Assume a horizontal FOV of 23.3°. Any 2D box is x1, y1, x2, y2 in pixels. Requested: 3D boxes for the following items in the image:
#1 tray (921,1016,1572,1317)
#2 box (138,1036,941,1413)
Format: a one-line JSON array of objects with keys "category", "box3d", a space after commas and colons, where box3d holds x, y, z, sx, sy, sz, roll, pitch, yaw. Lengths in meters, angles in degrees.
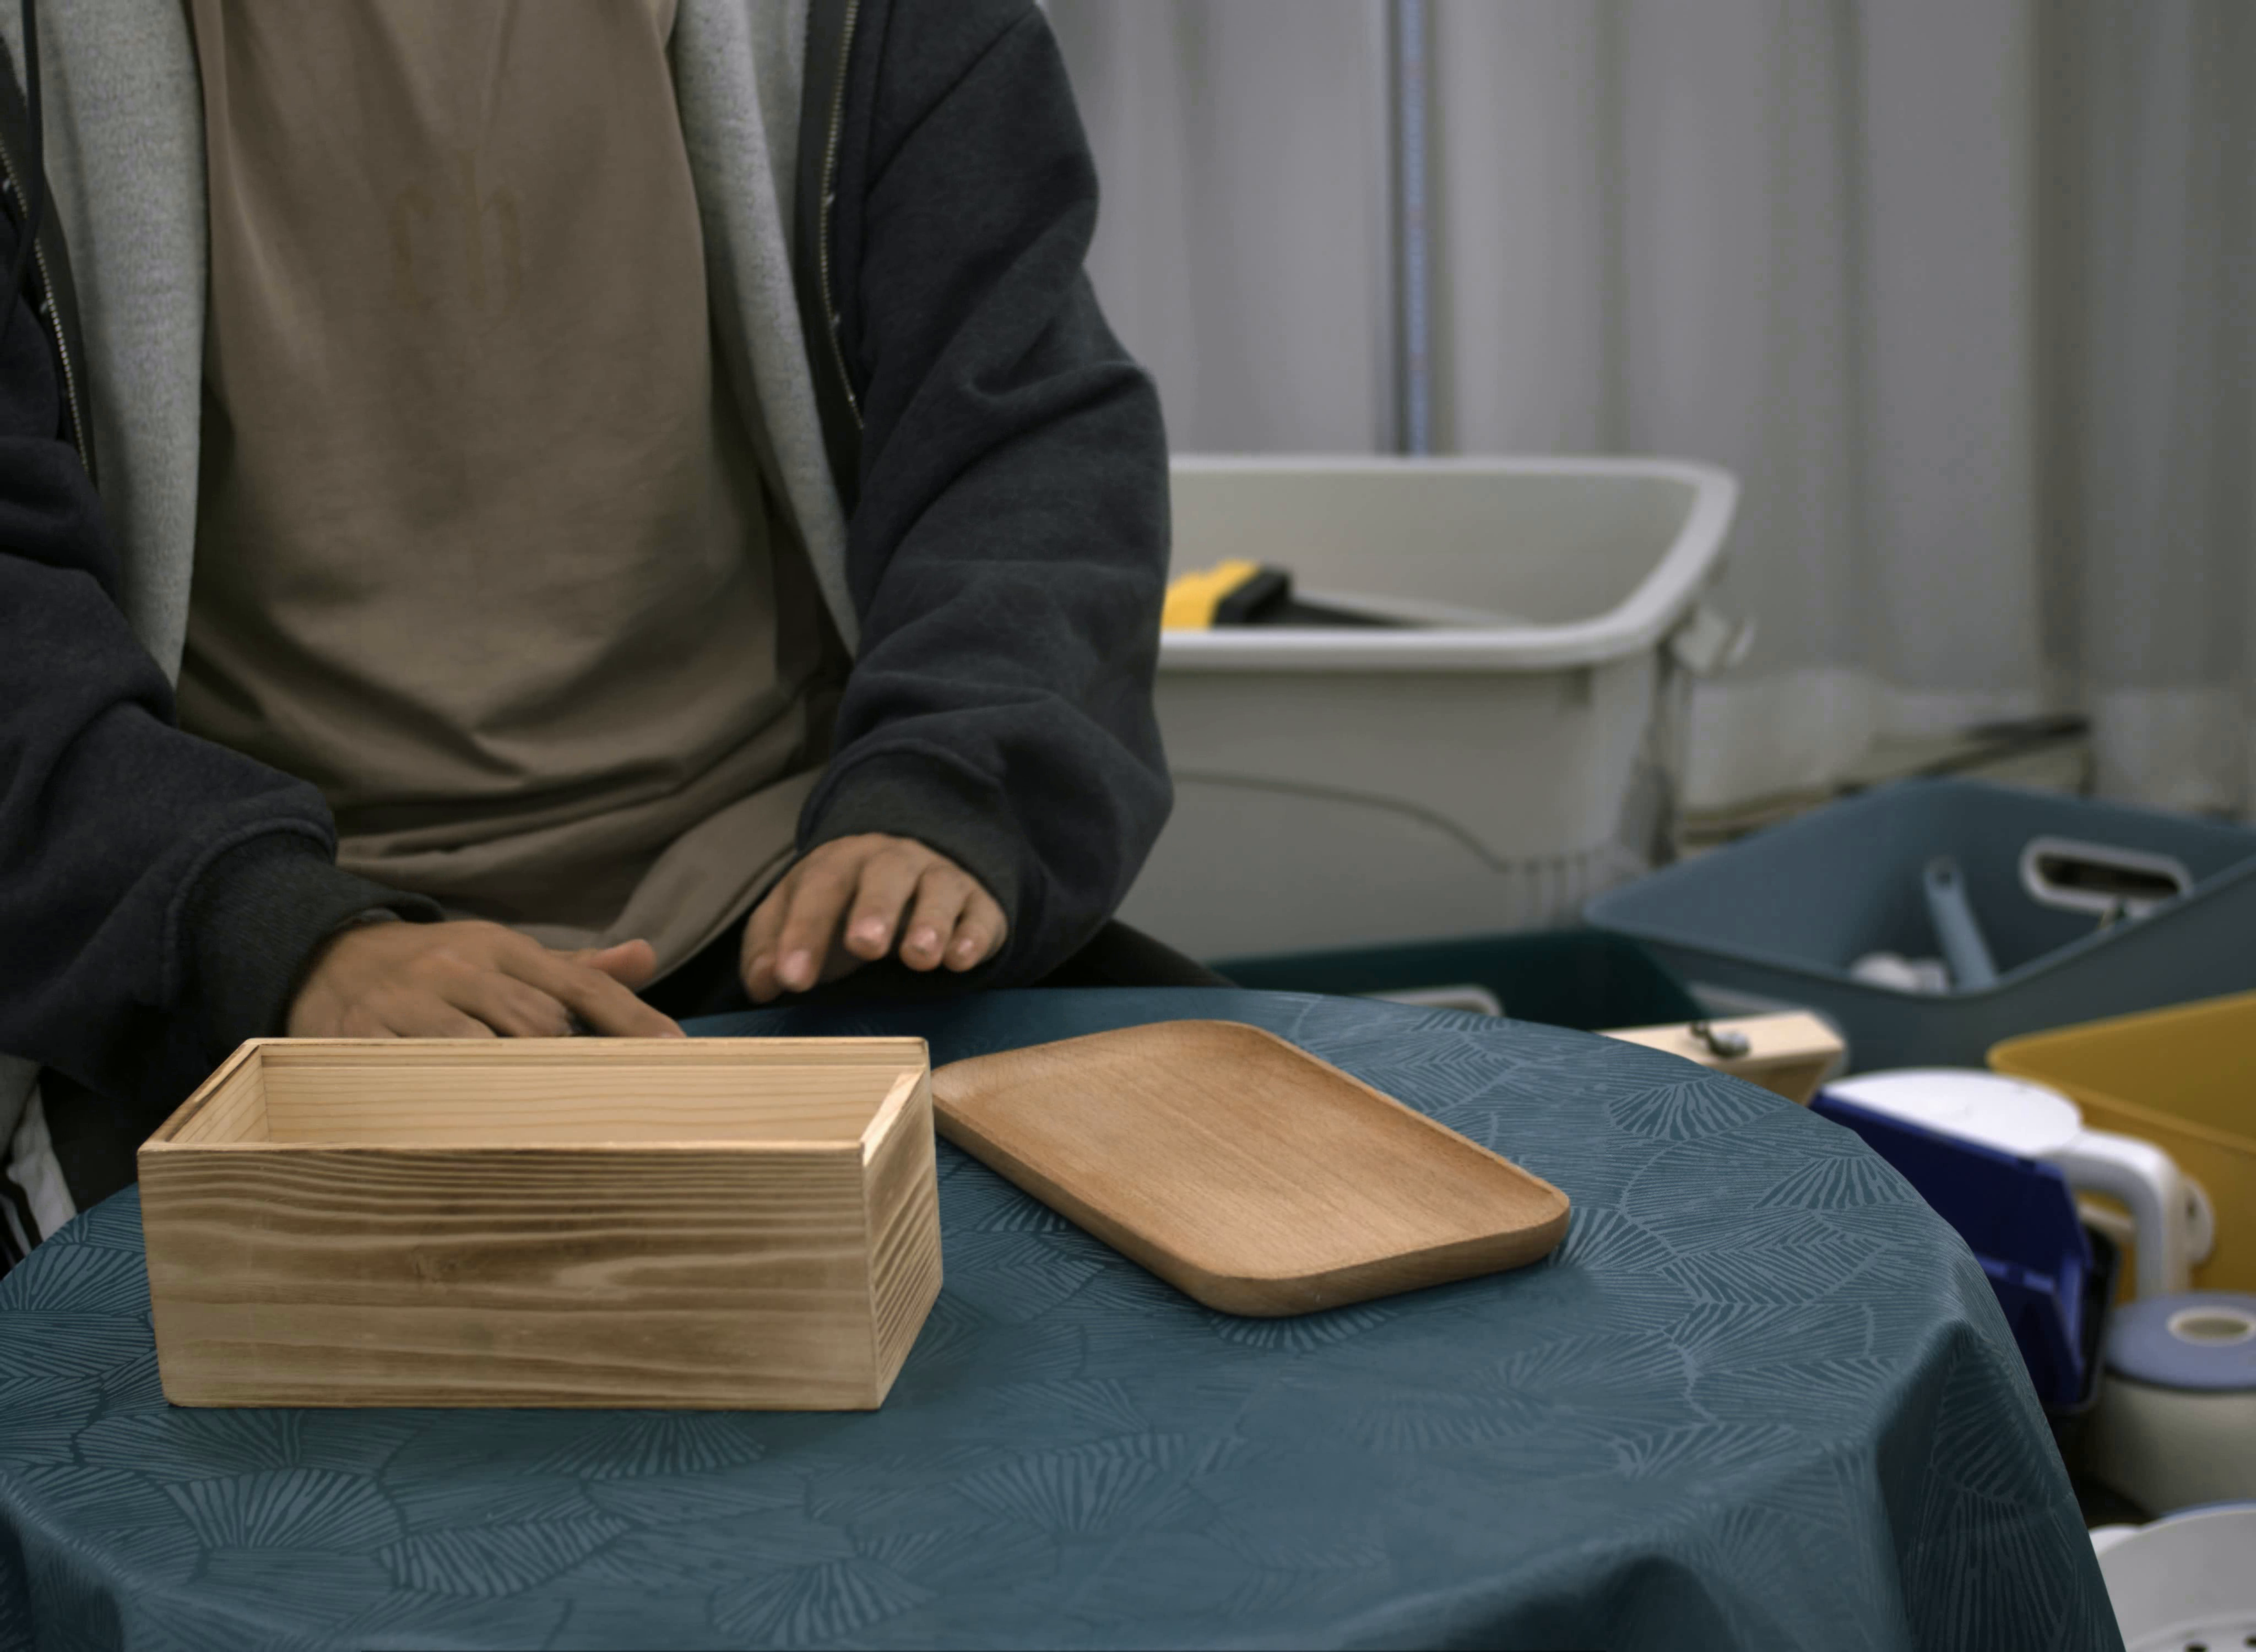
[{"category": "tray", "box3d": [0.032, 0.104, 1.715, 0.130, 0.023, 0.252, -7, 15, -24]}, {"category": "box", "box3d": [-0.169, 0.115, 1.597, 0.211, 0.080, 0.108, 0, 14, 9]}]
